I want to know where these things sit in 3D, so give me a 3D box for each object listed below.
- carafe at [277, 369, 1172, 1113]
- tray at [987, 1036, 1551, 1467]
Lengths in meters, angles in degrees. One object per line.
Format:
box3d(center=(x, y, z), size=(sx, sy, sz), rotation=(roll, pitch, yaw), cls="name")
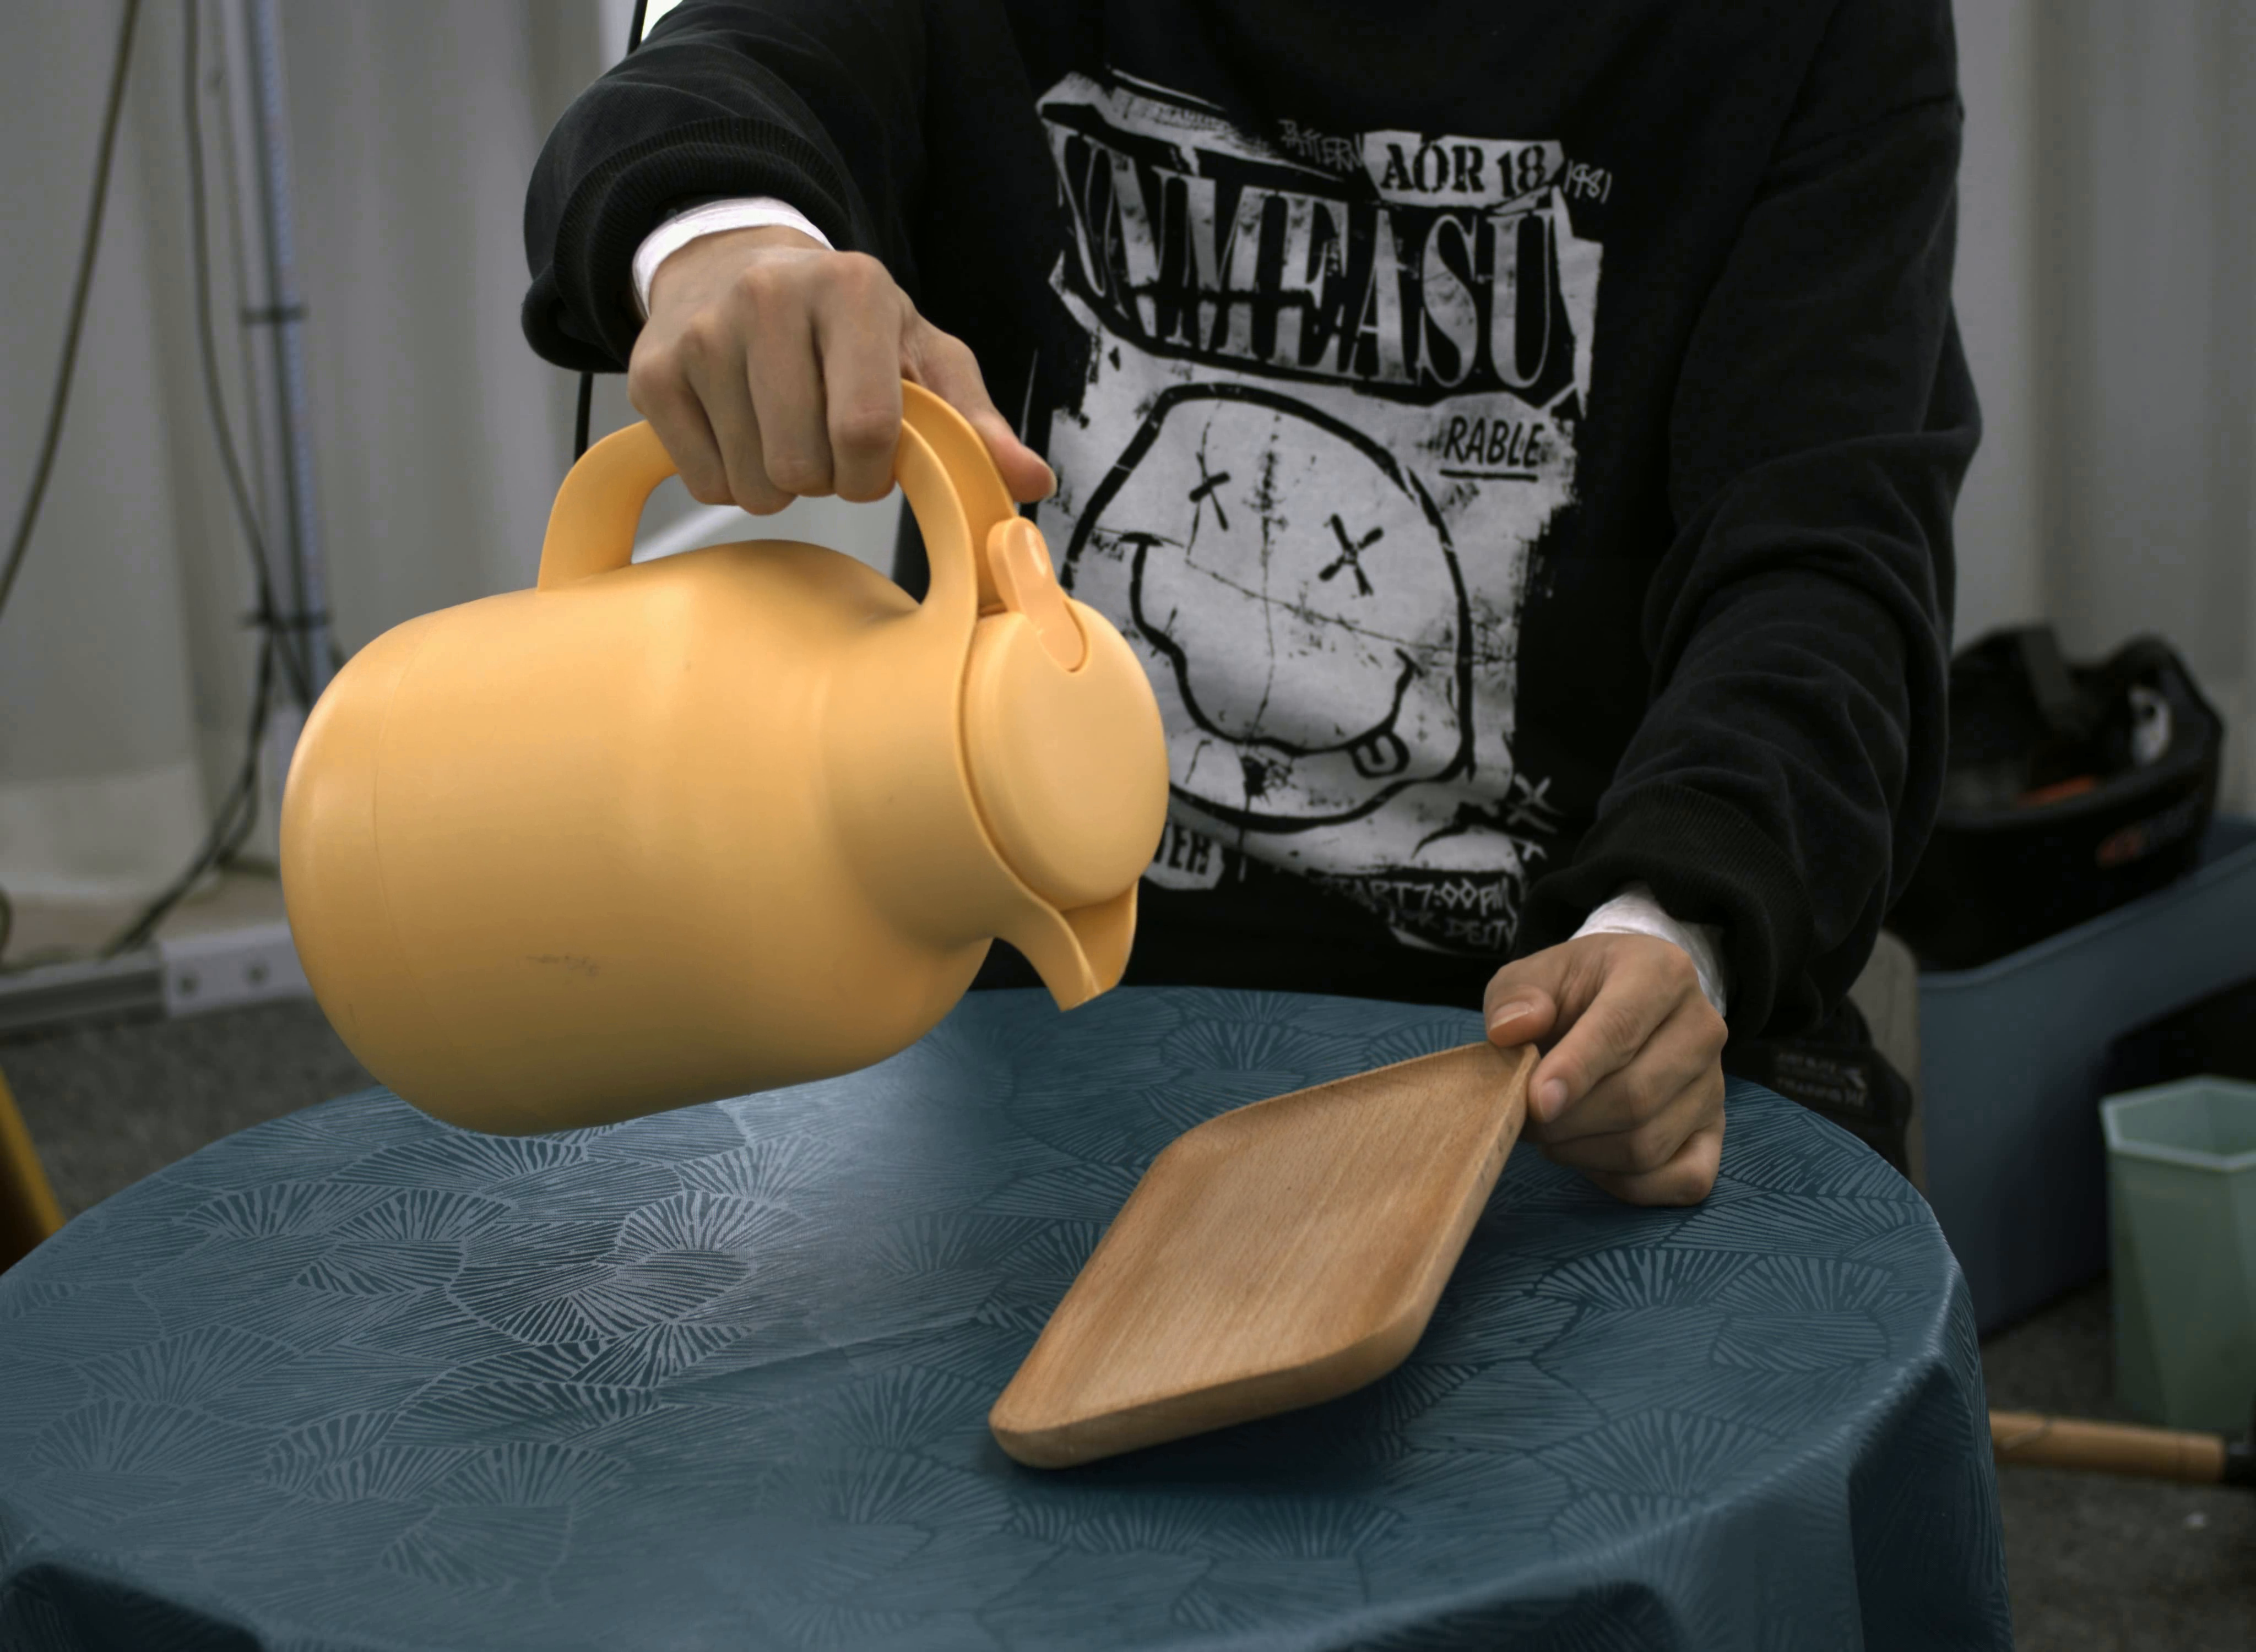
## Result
box3d(center=(-0.116, -0.025, 1.608), size=(0.260, 0.203, 0.163), rotation=(-9, 3, 32), cls="carafe")
box3d(center=(0.045, 0.120, 1.574), size=(0.130, 0.023, 0.252), rotation=(-14, 13, 19), cls="tray")
